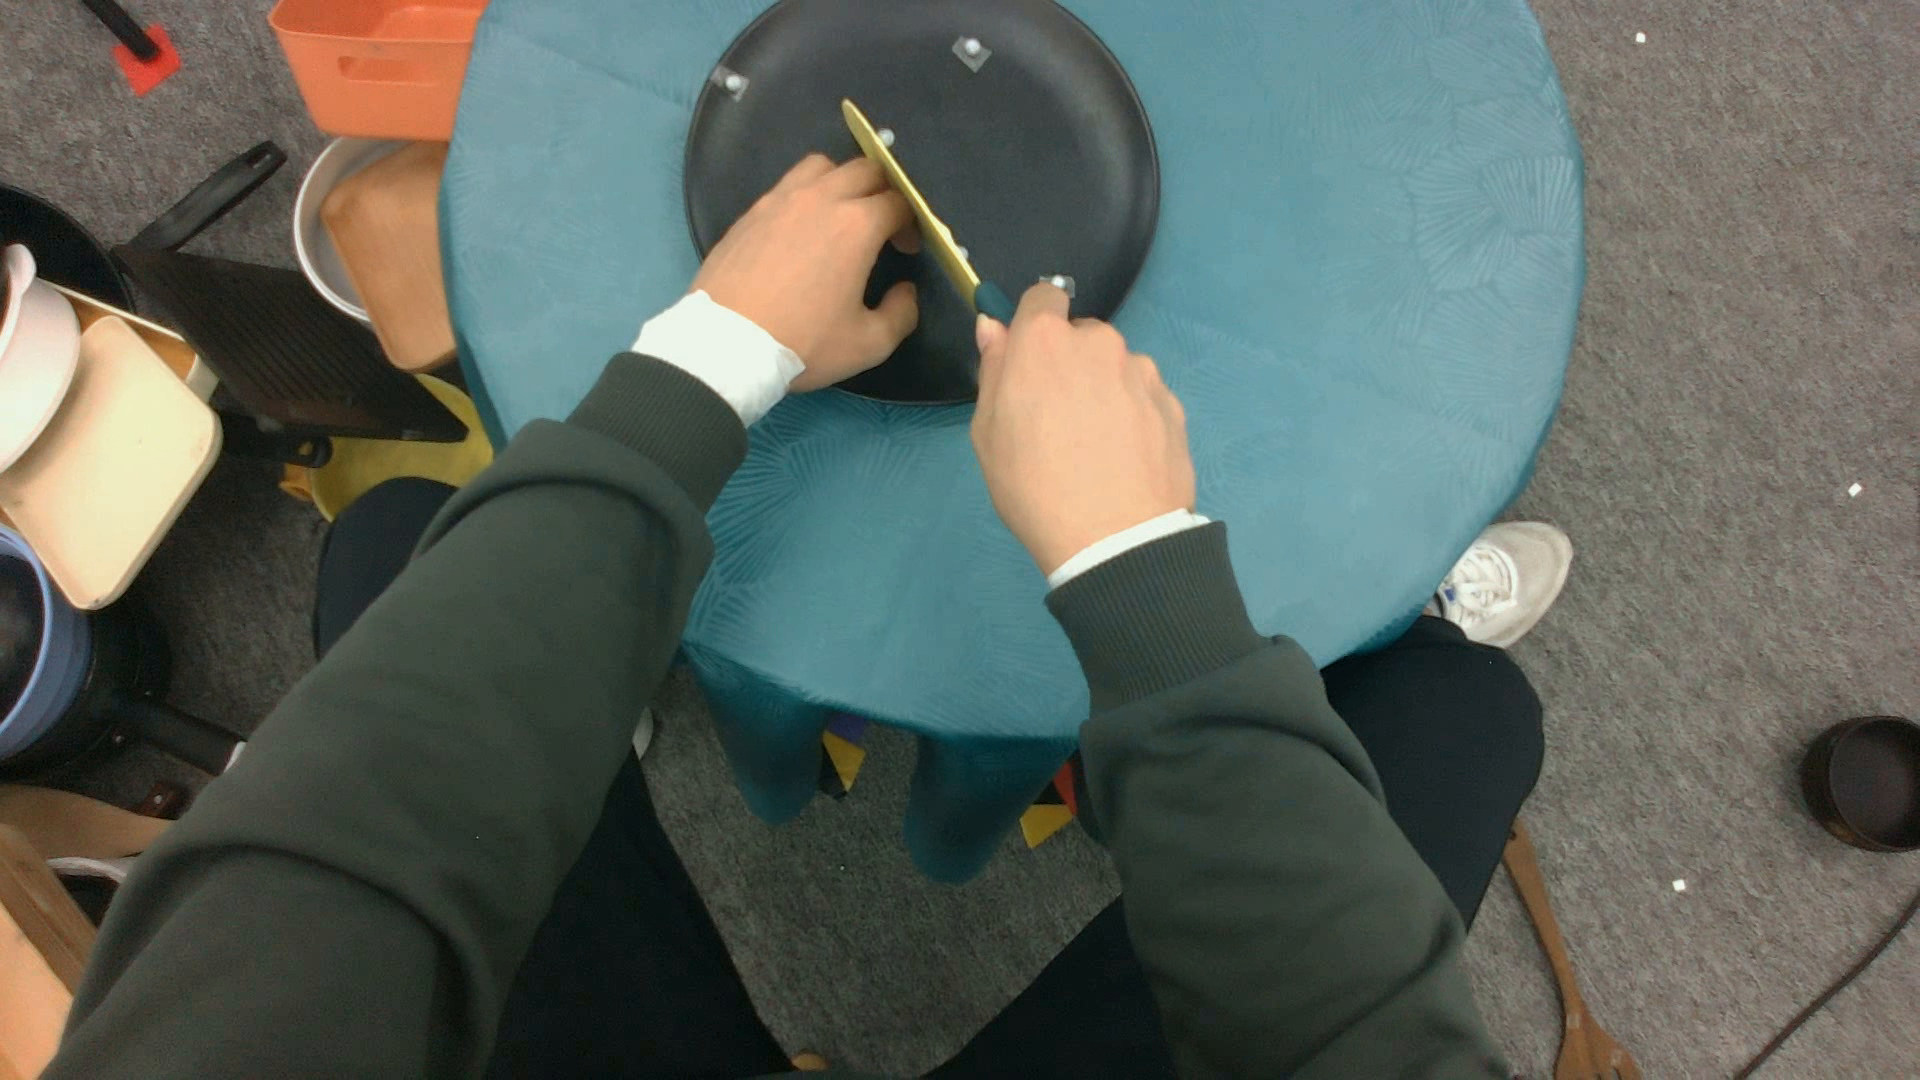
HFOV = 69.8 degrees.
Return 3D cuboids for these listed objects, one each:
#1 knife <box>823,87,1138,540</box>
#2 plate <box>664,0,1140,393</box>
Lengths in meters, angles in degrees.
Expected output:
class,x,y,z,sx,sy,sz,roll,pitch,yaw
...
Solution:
class,x,y,z,sx,sy,sz,roll,pitch,yaw
knife,0.001,-0.111,0.632,0.027,0.081,0.290,-32,64,2
plate,-0.029,-0.190,0.711,0.244,0.023,0.245,1,77,-4
